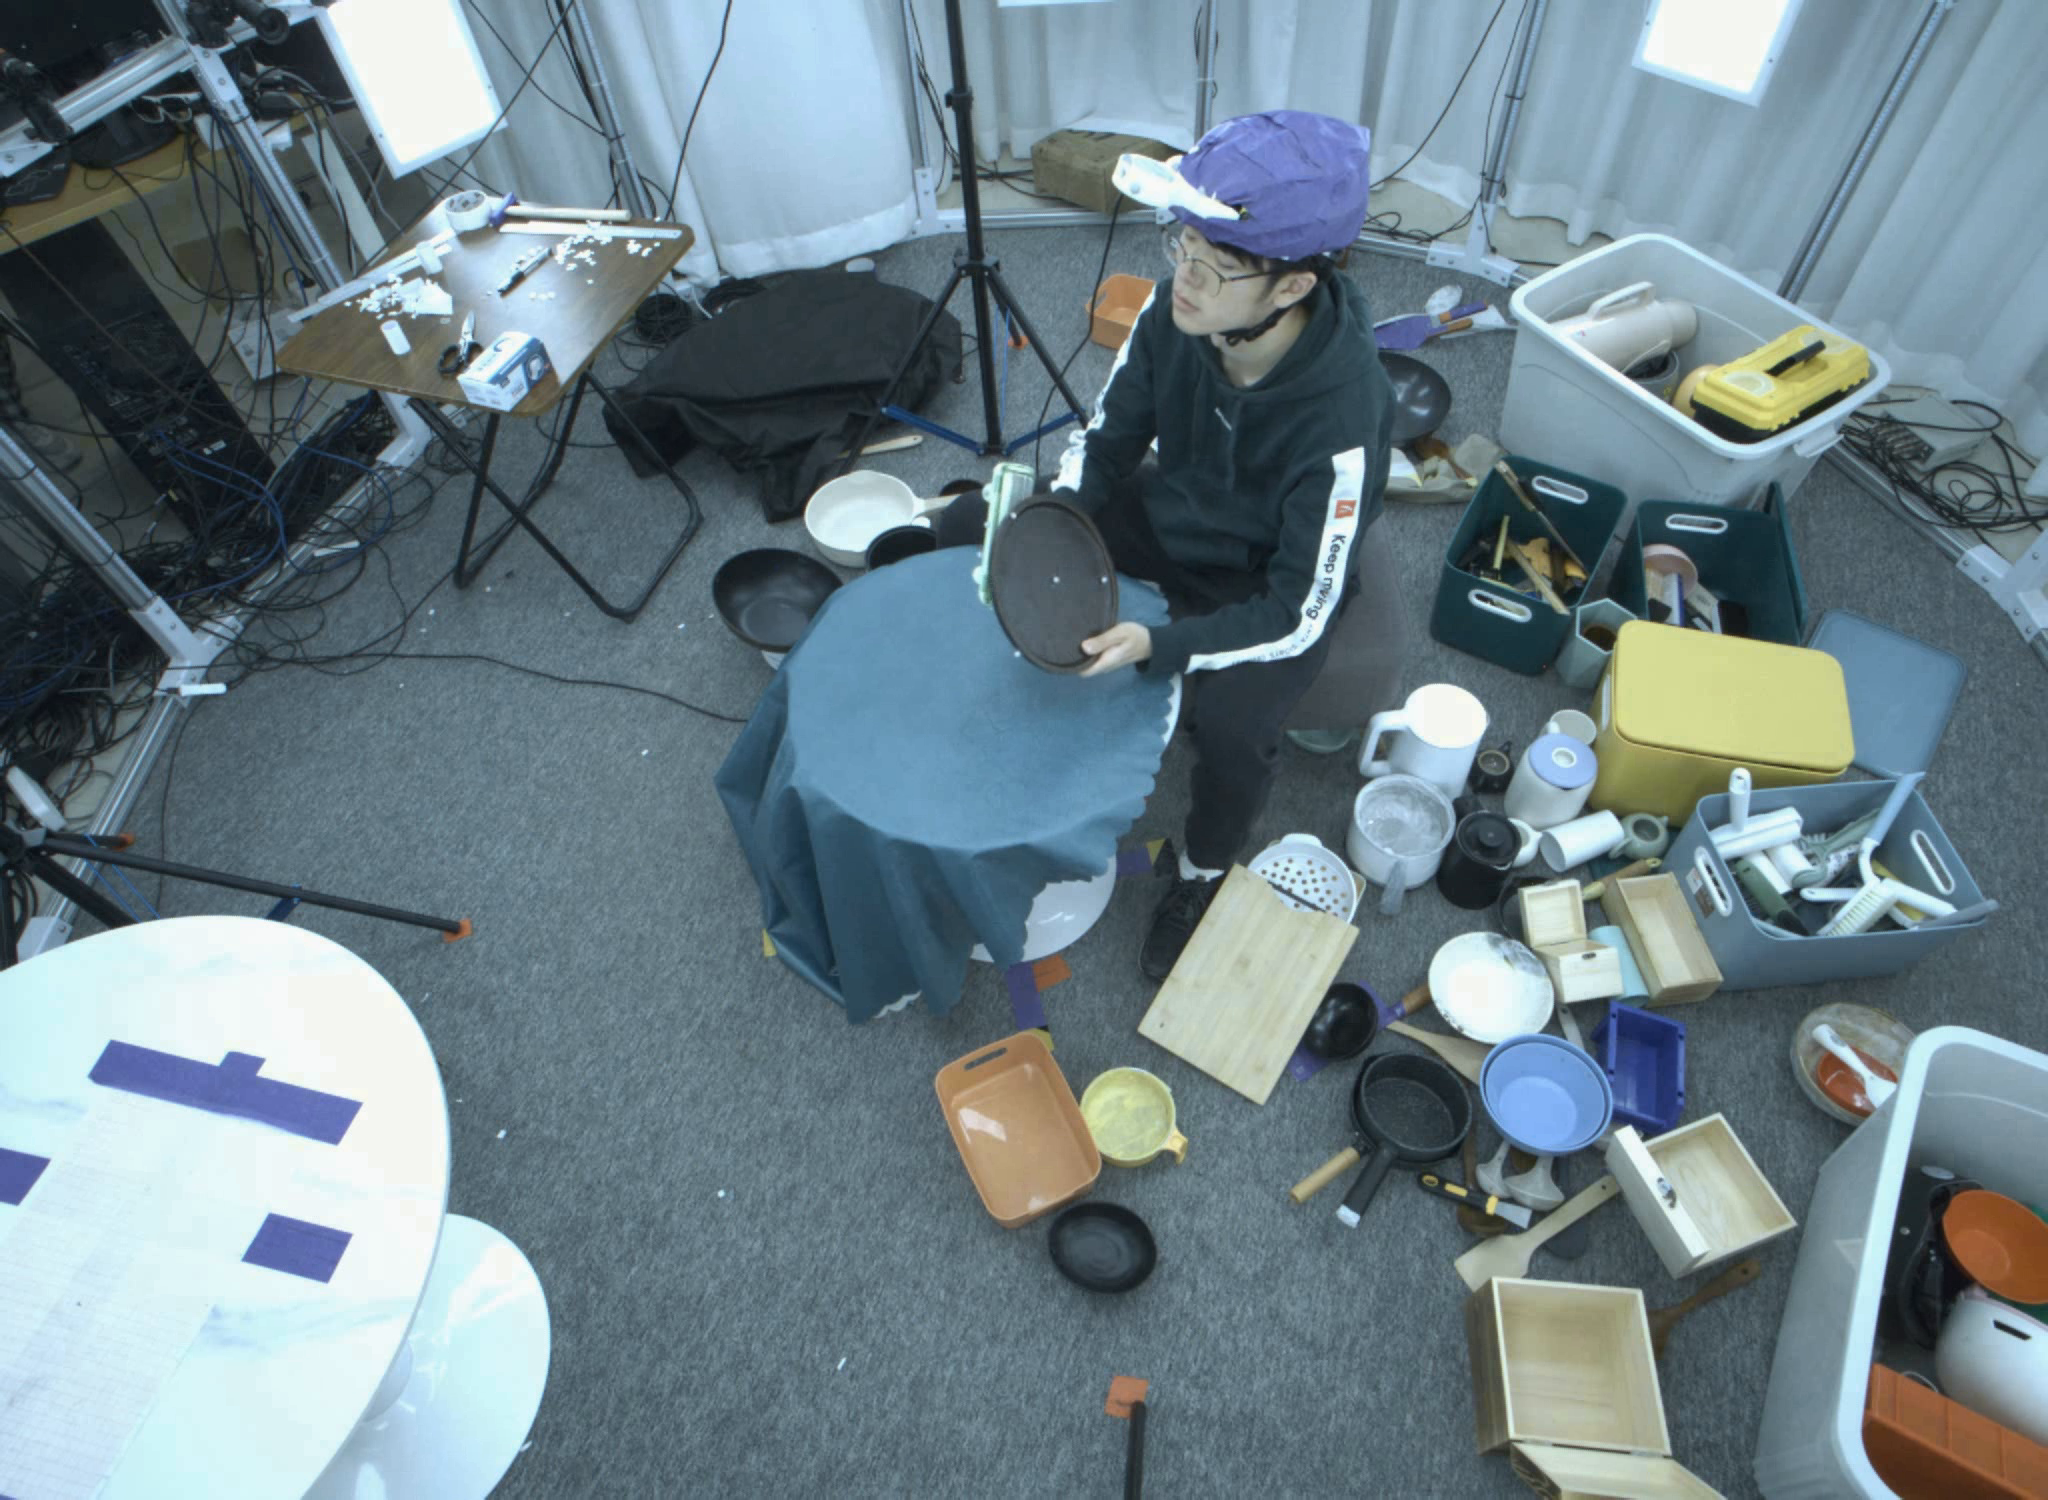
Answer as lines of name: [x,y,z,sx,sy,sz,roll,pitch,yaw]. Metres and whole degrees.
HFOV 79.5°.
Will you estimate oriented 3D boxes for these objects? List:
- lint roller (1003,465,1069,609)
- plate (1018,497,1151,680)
lint roller: [0.030,-0.300,1.746,0.081,0.185,0.199,12,100,17]
plate: [0.084,-0.221,1.689,0.028,0.259,0.255,-4,45,46]
